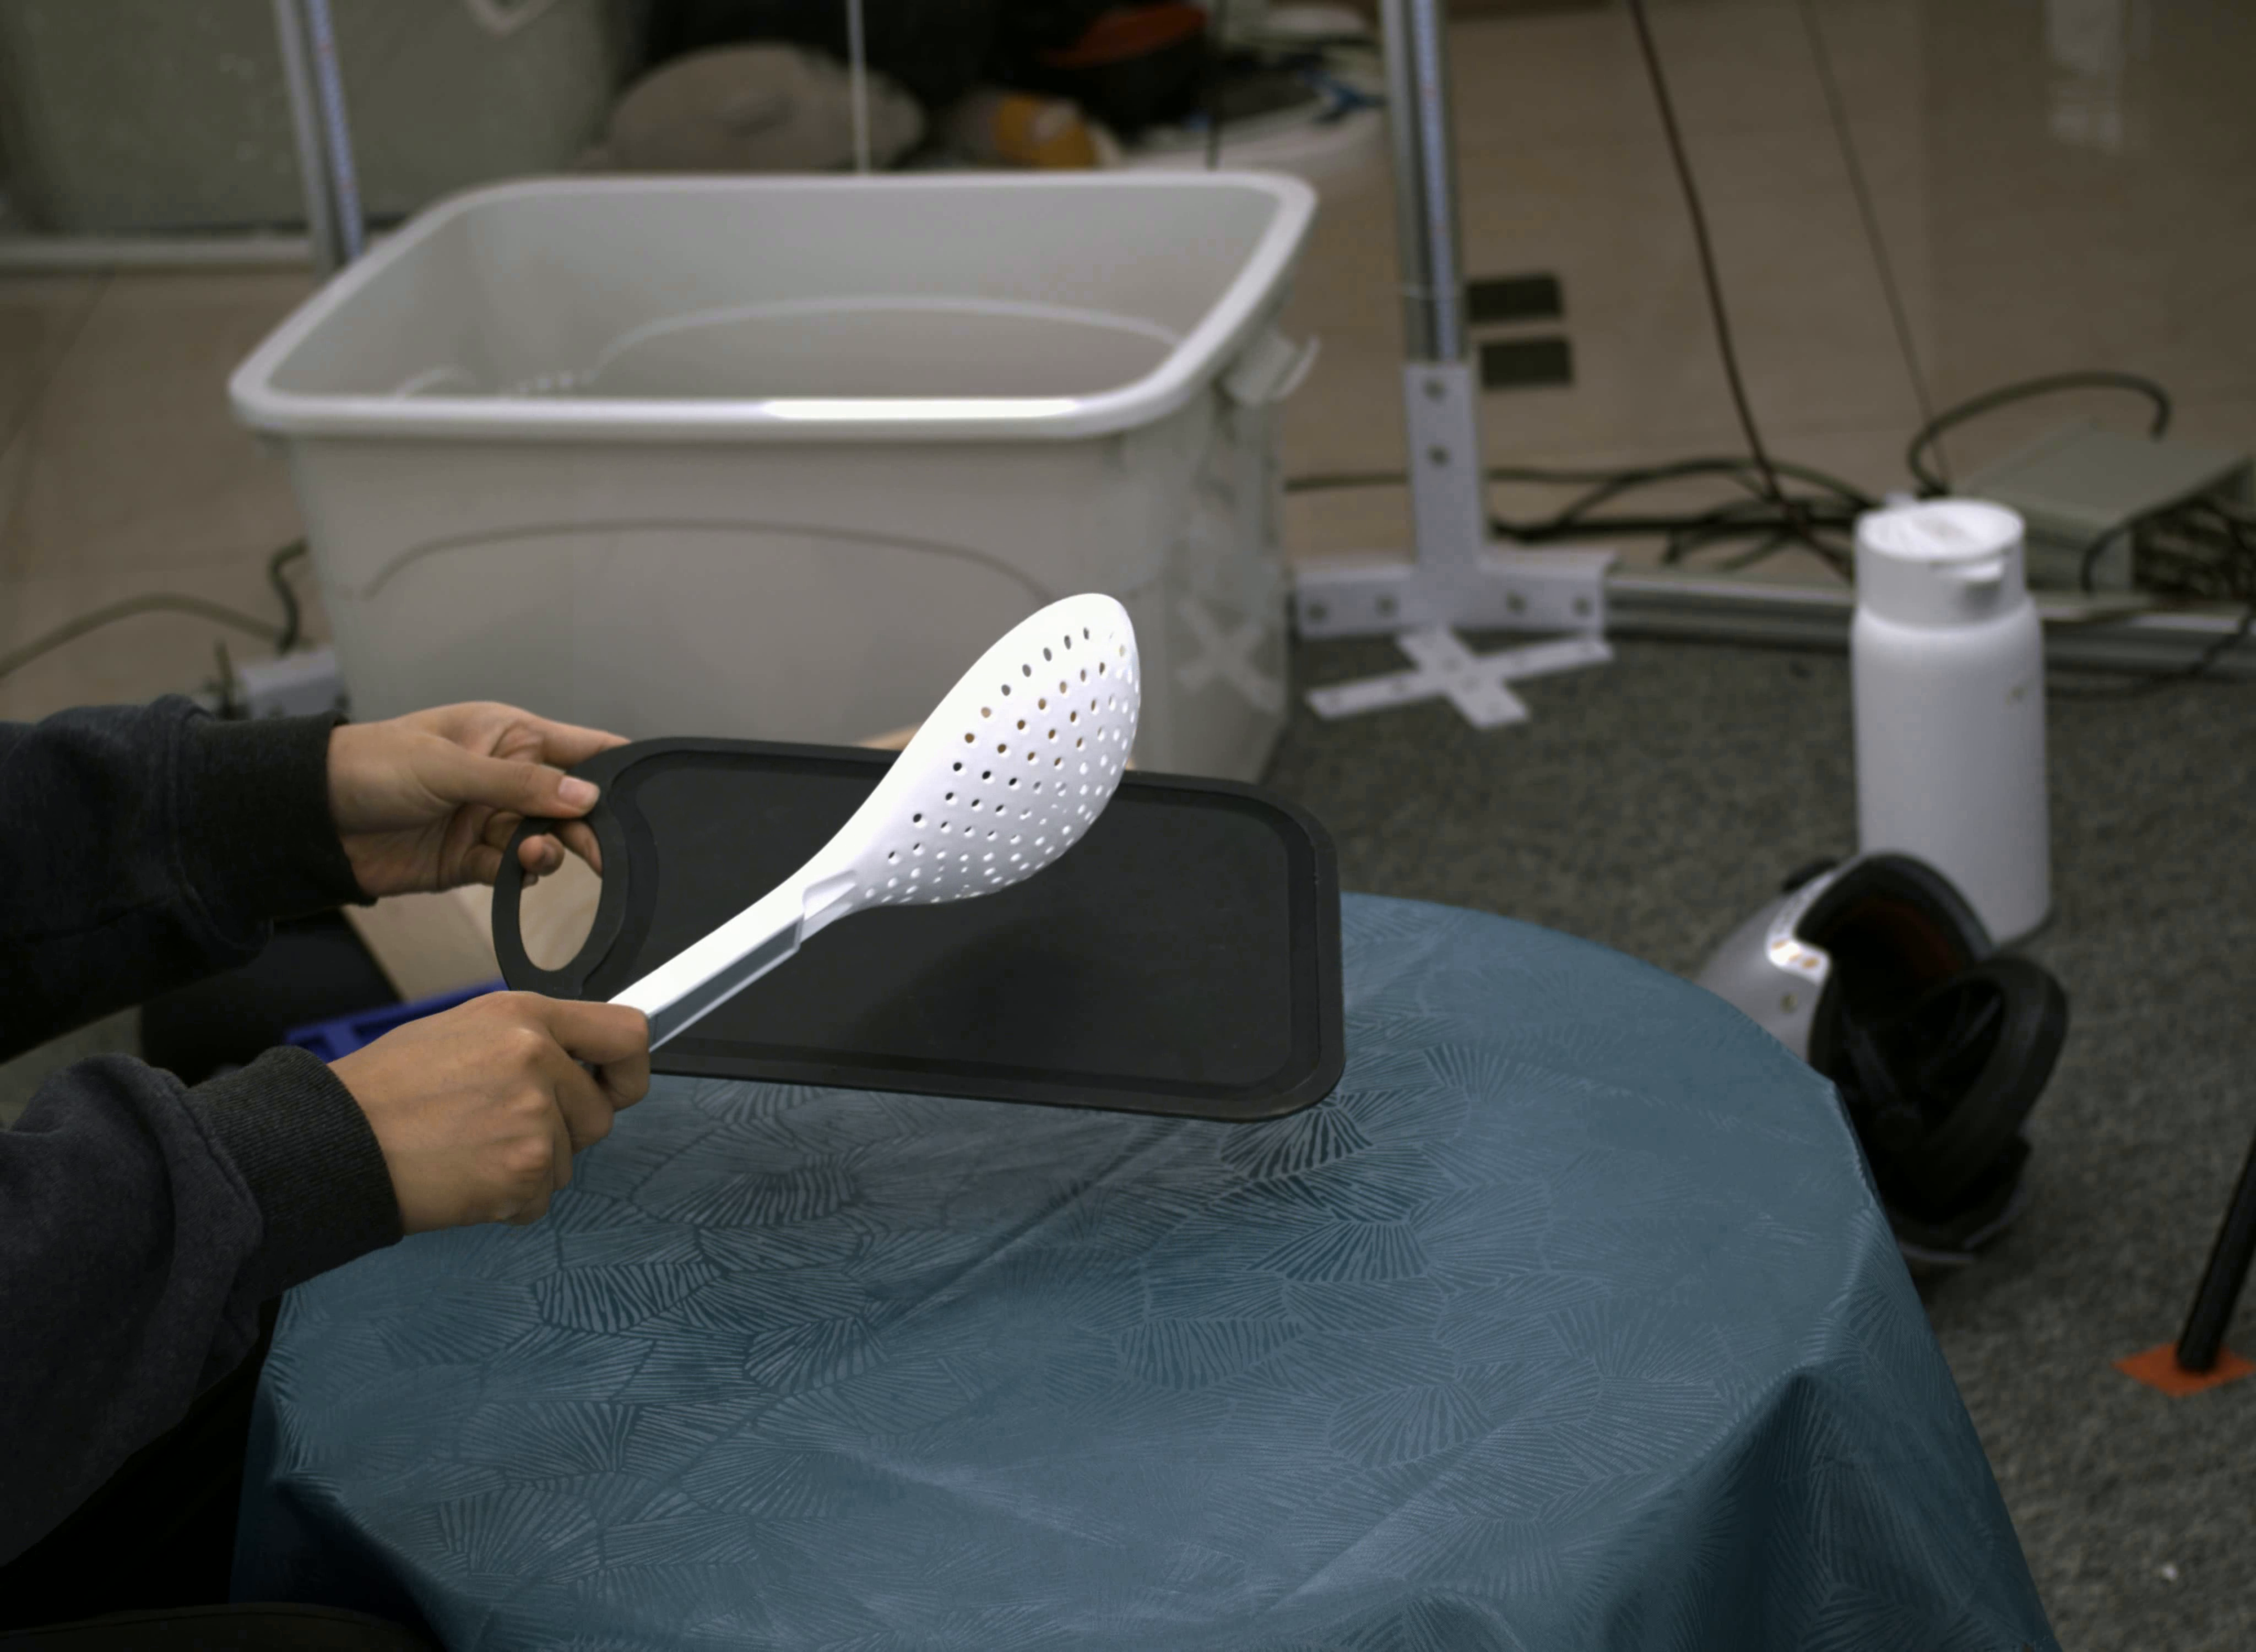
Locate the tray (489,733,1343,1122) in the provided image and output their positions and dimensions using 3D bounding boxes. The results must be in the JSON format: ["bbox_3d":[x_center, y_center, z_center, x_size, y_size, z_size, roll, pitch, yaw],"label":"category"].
[{"bbox_3d":[-0.080,0.035,2.151,0.325,0.010,0.207,5,38,-3],"label":"tray"}]

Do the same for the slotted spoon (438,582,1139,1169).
[{"bbox_3d":[-0.113,0.024,2.019,0.346,0.138,0.045,-30,58,-32],"label":"slotted spoon"}]
